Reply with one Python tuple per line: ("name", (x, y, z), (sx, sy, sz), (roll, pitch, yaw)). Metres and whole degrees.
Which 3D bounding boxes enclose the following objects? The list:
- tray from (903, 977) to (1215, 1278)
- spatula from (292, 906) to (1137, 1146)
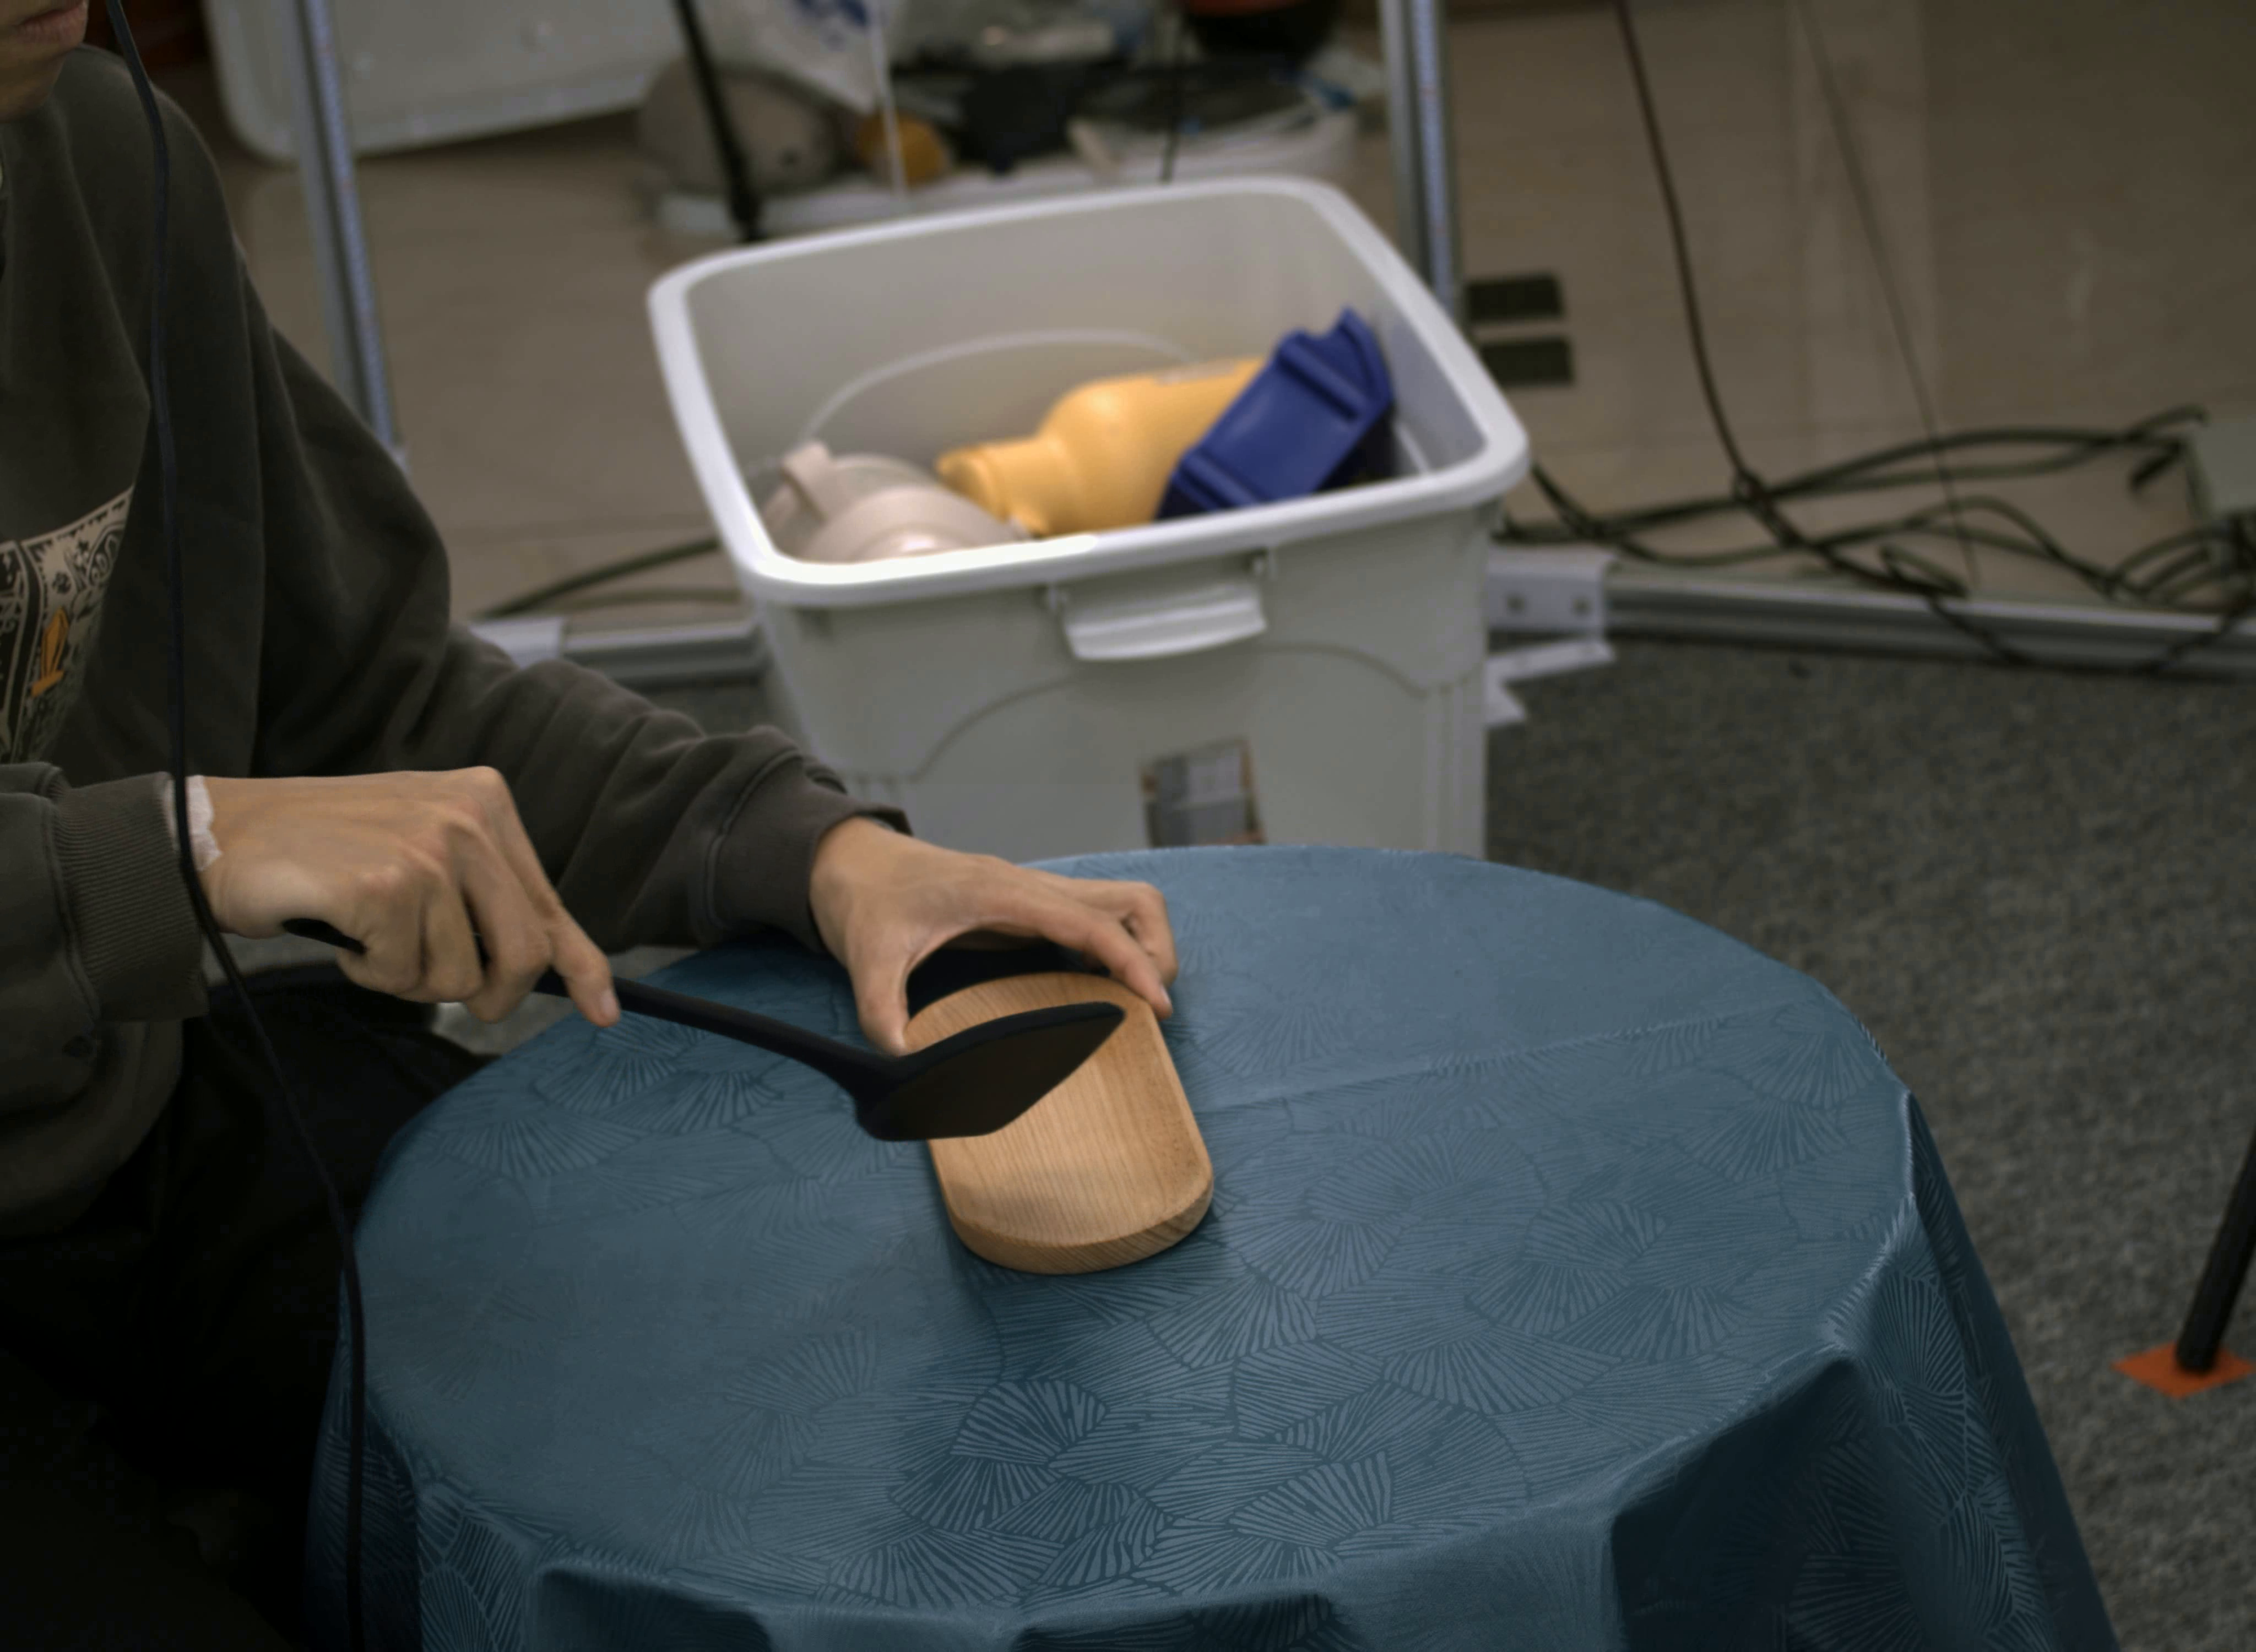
("tray", (-0.028, 0.114, 2.188), (0.101, 0.020, 0.228), (-11, 26, -5))
("spatula", (-0.150, 0.063, 2.022), (0.327, 0.101, 0.039), (18, 49, -29))
